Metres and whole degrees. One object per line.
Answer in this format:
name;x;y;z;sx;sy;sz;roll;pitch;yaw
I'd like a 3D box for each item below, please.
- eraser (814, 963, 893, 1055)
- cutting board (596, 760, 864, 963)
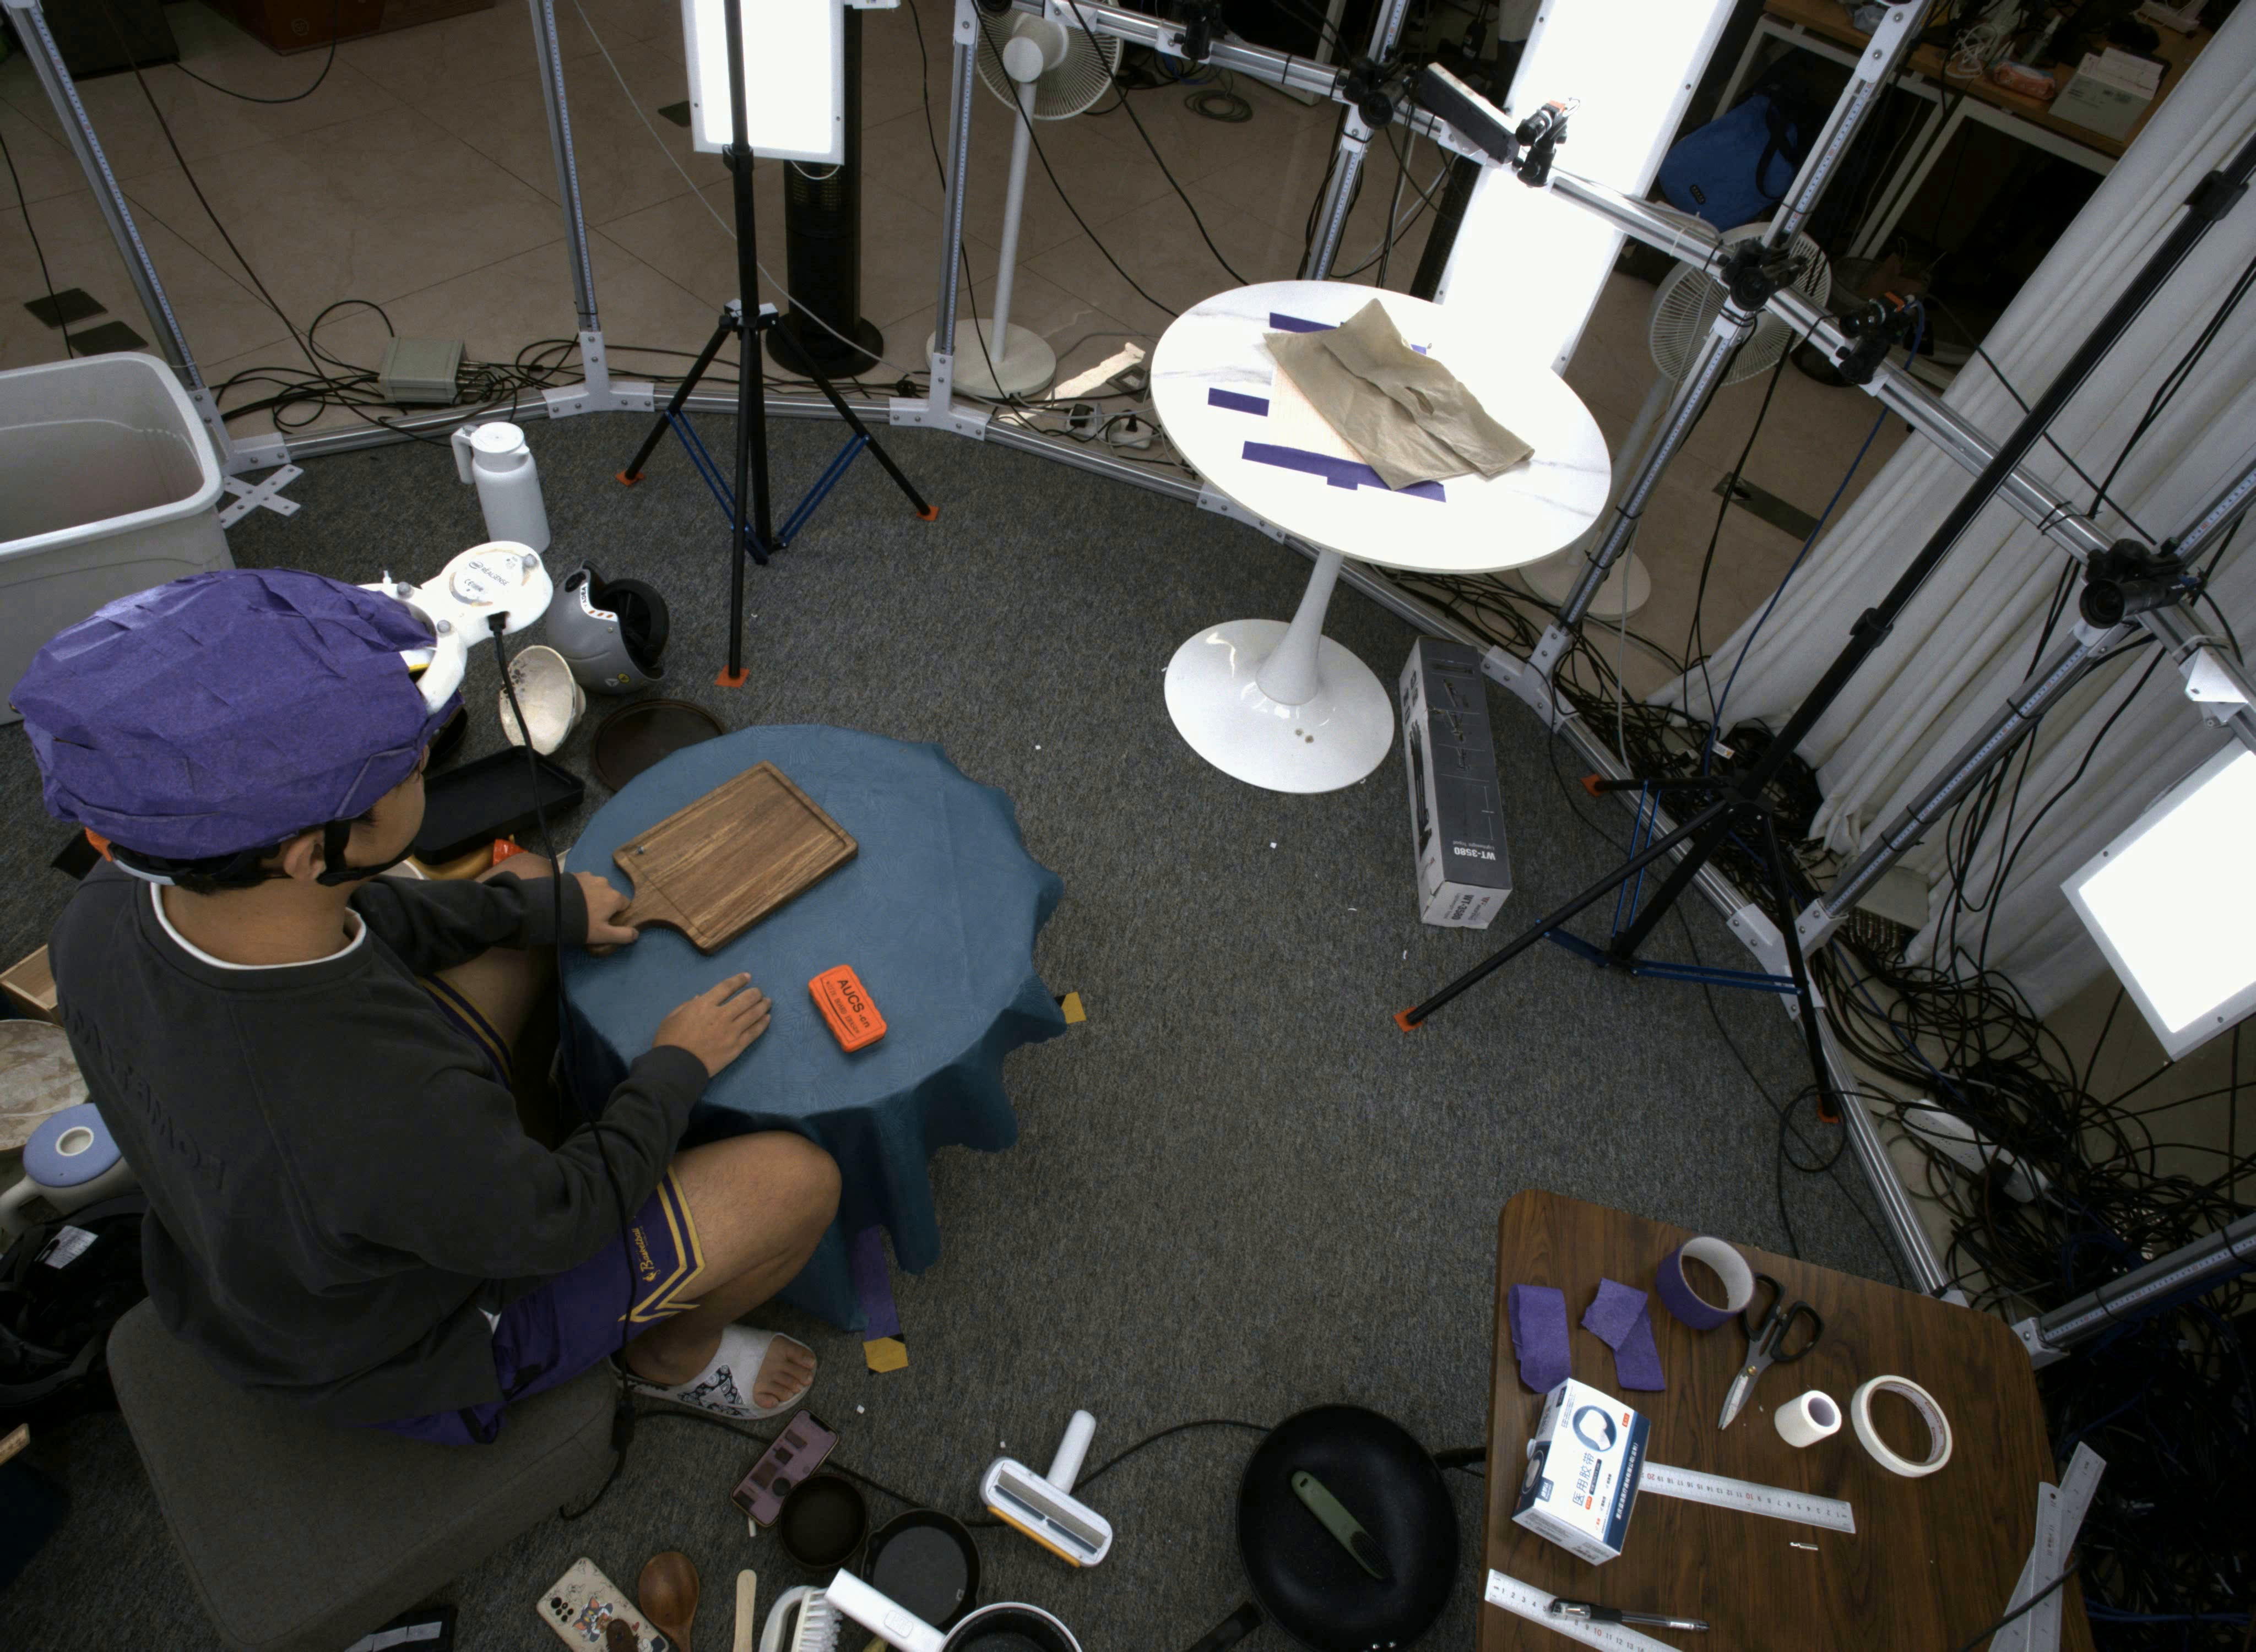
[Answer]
eraser;-0.332;0.217;1.571;0.059;0.023;0.105;-25;65;-28
cutting board;-0.530;0.060;1.644;0.197;0.023;0.352;40;55;16
